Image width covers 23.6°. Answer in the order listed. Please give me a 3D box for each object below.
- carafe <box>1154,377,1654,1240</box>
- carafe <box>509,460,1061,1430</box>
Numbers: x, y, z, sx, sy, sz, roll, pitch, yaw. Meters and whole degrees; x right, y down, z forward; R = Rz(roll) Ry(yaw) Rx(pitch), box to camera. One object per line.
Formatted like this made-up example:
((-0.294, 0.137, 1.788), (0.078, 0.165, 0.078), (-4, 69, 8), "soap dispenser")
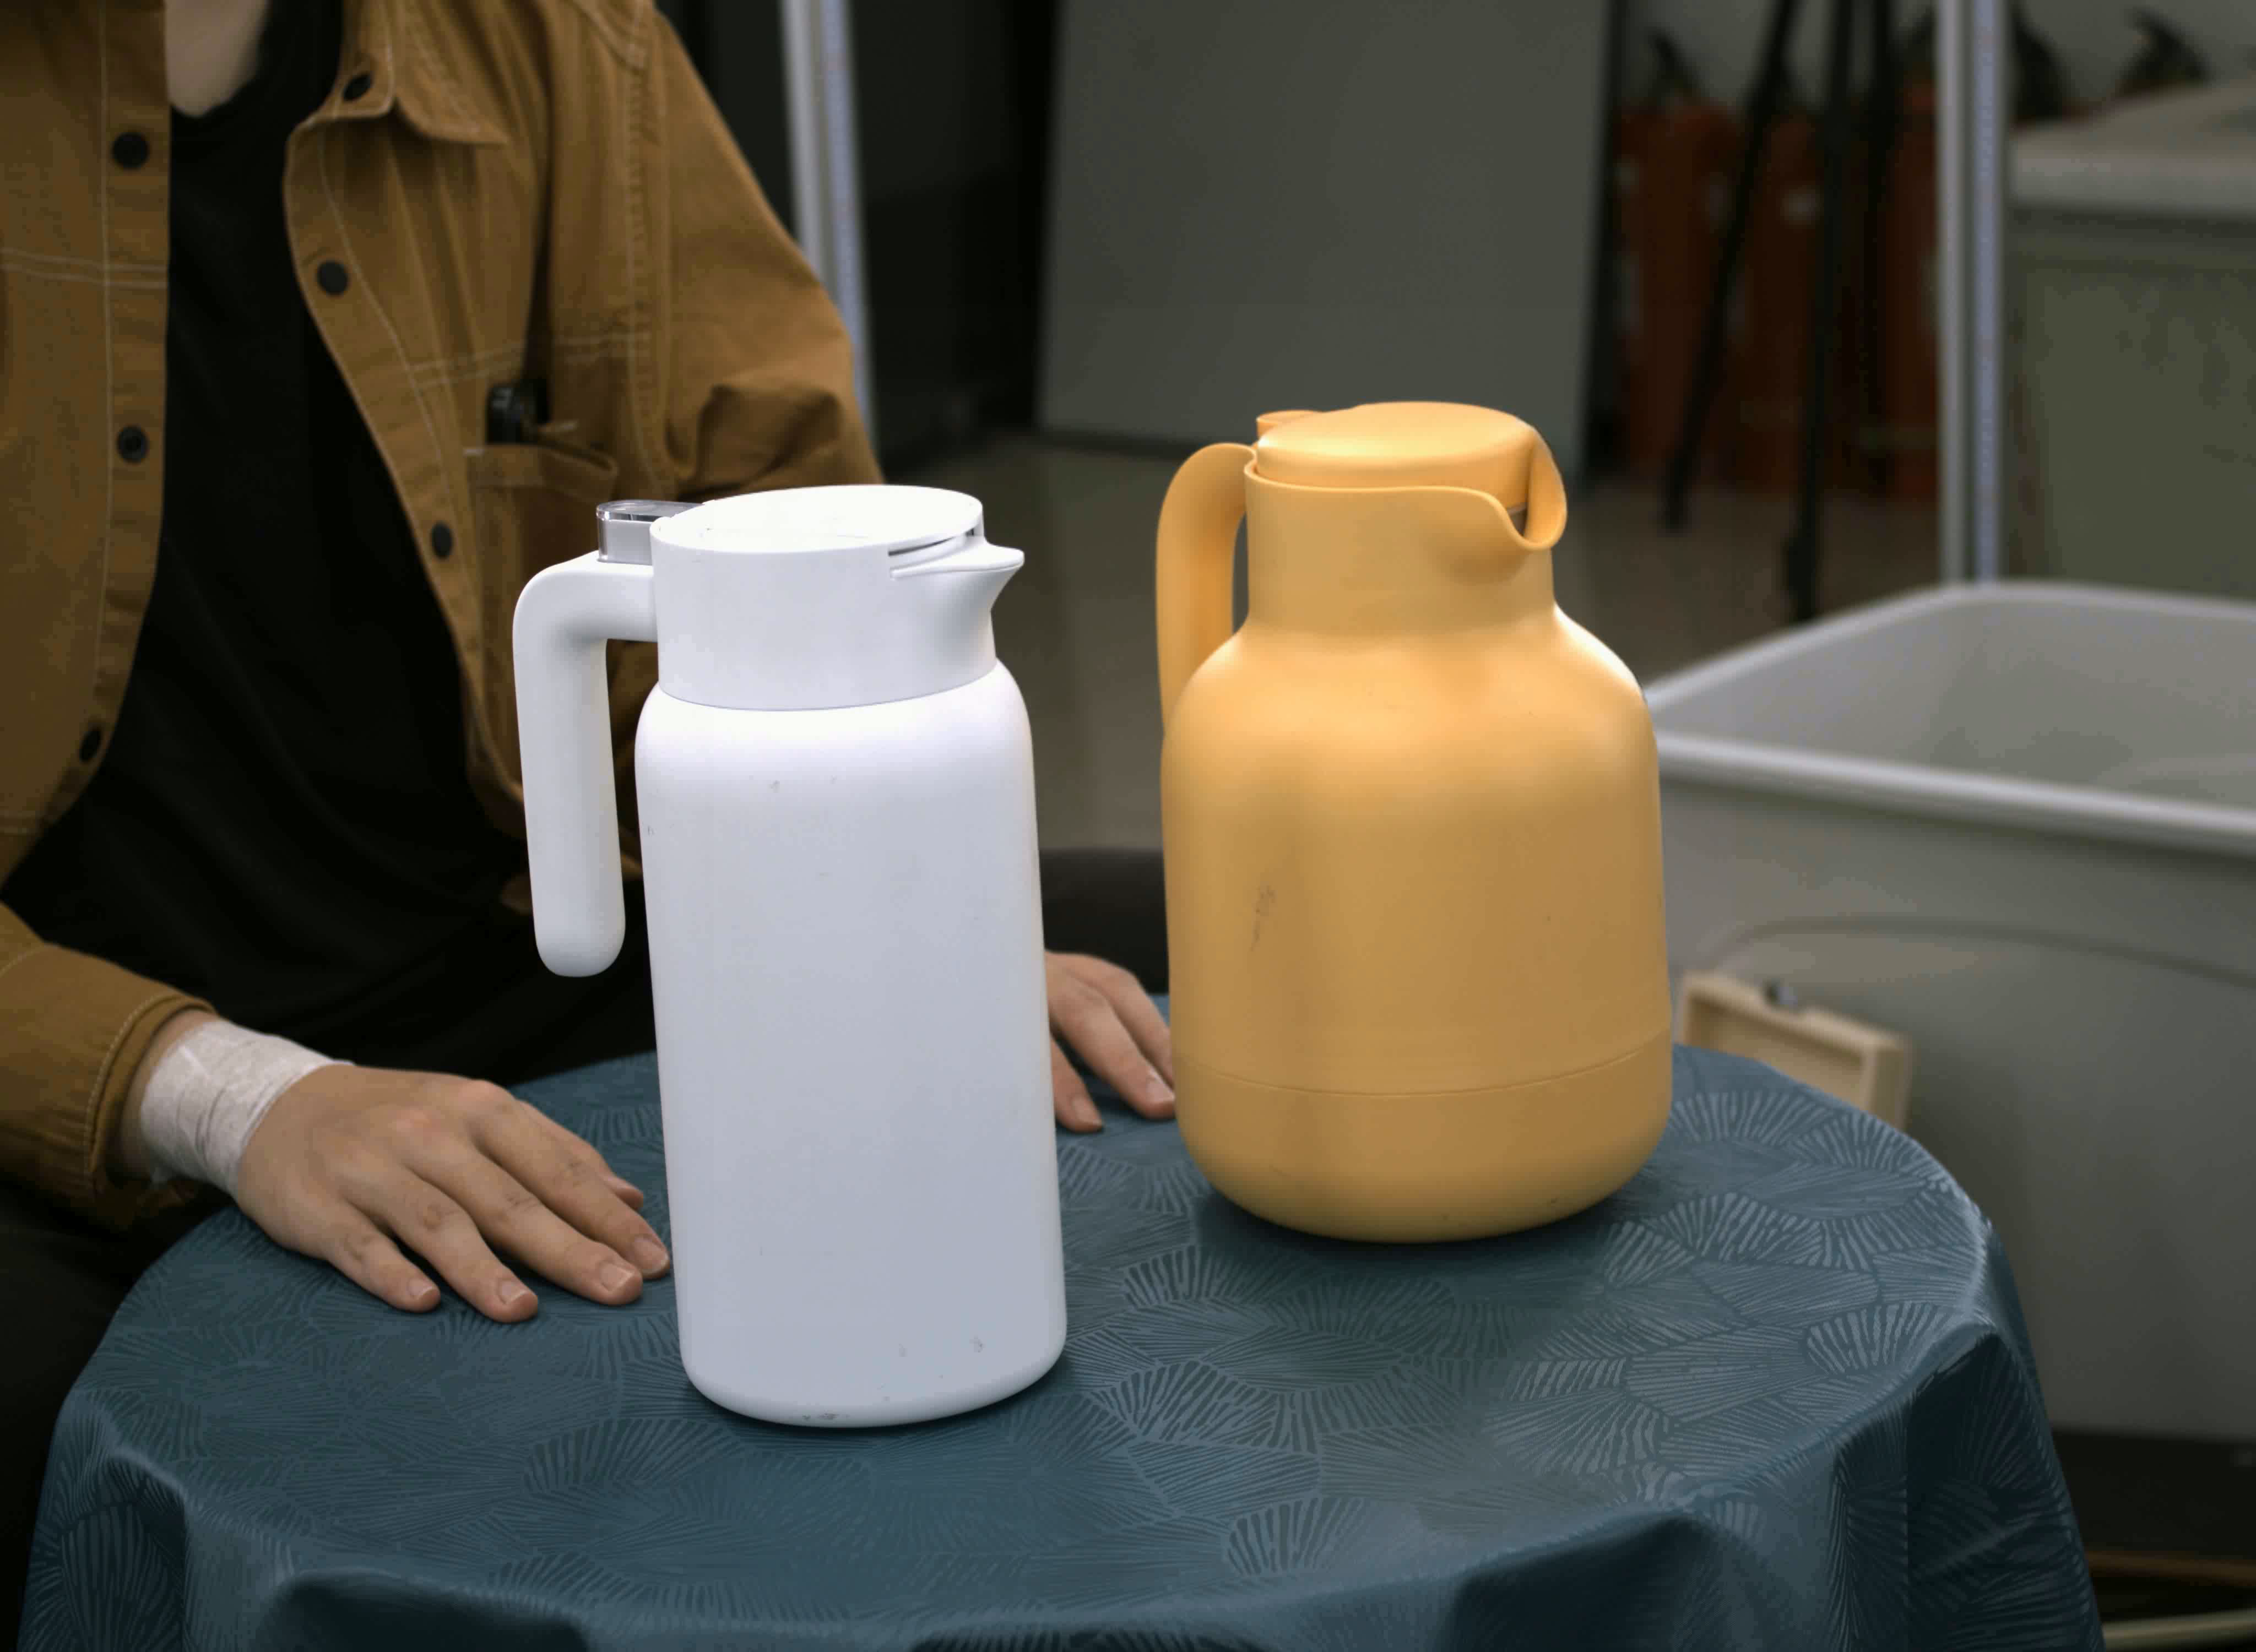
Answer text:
((0.078, -0.013, 1.738), (0.160, 0.263, 0.204), (-8, 15, -30), "carafe")
((-0.100, 0.034, 1.598), (0.173, 0.272, 0.122), (4, 17, 30), "carafe")
